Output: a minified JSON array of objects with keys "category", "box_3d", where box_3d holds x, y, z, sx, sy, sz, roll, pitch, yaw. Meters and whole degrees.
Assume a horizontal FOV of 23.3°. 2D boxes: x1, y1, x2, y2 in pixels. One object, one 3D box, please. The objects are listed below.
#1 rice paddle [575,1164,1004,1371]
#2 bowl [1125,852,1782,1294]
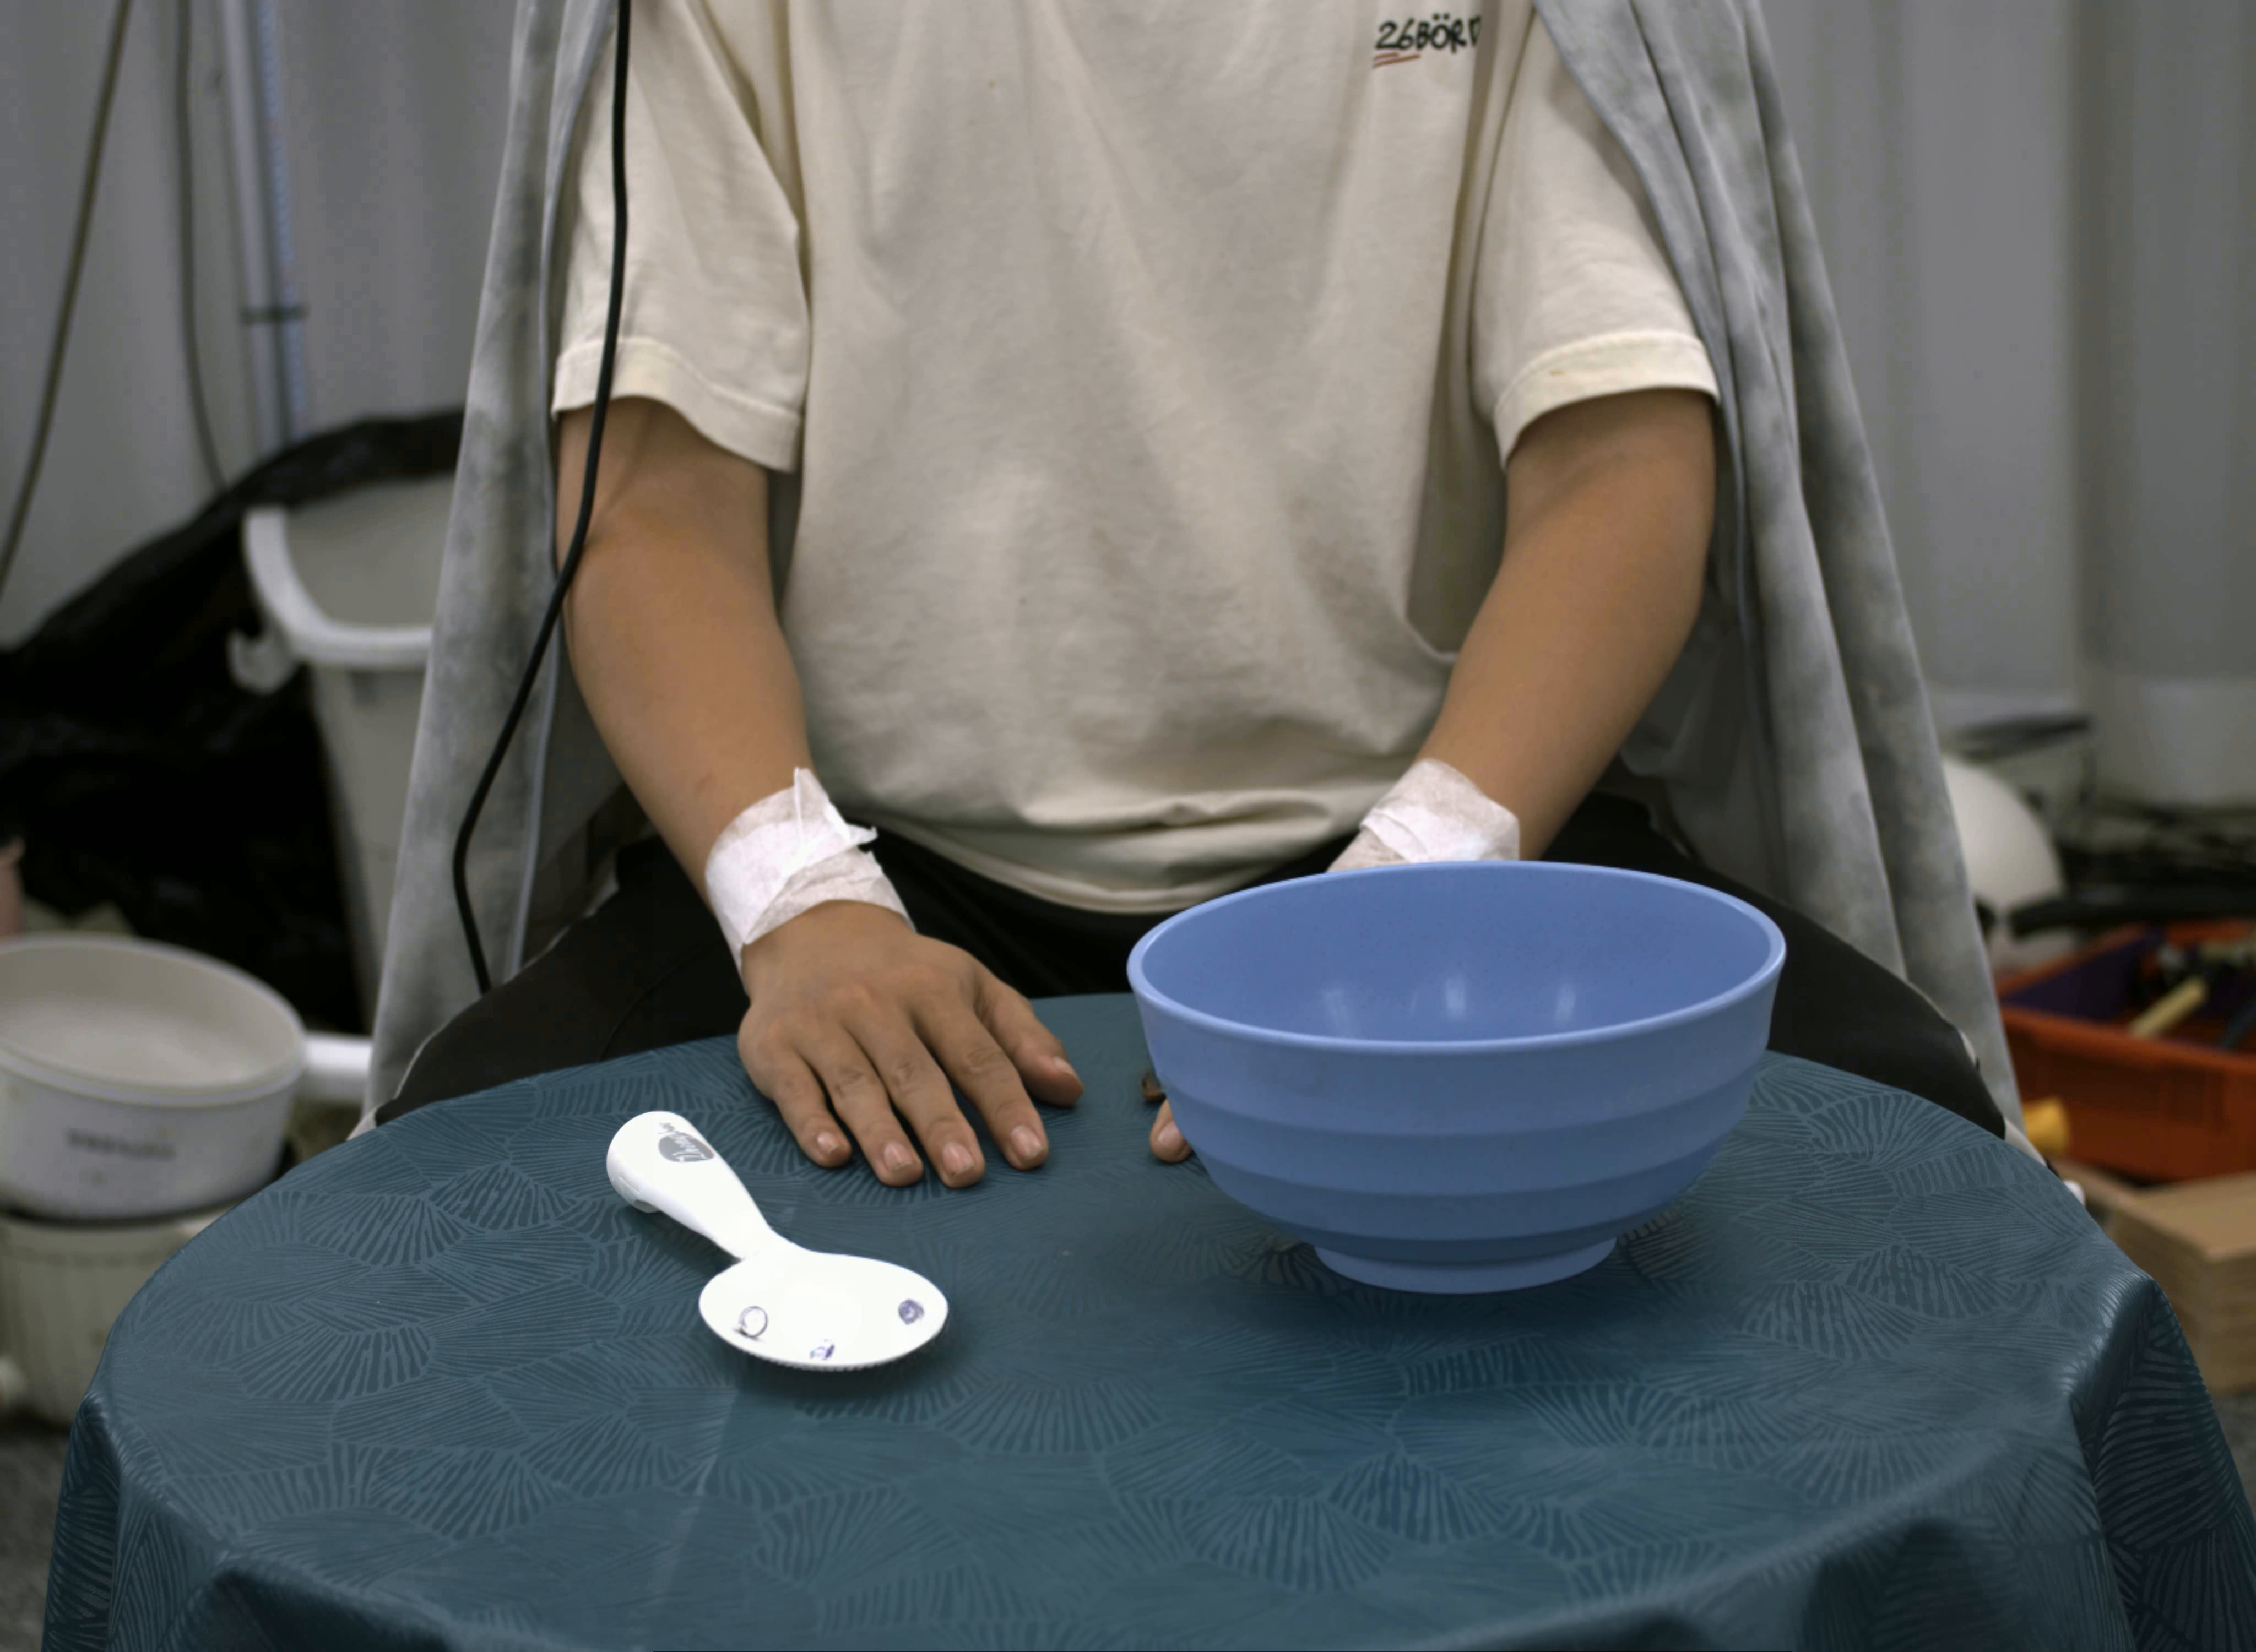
[{"category":"rice paddle","box_3d":[-0.104,0.134,1.629,0.068,0.029,0.206,3,6,-33]},{"category":"bowl","box_3d":[0.099,0.080,1.643,0.196,0.095,0.198,-4,16,1]}]
